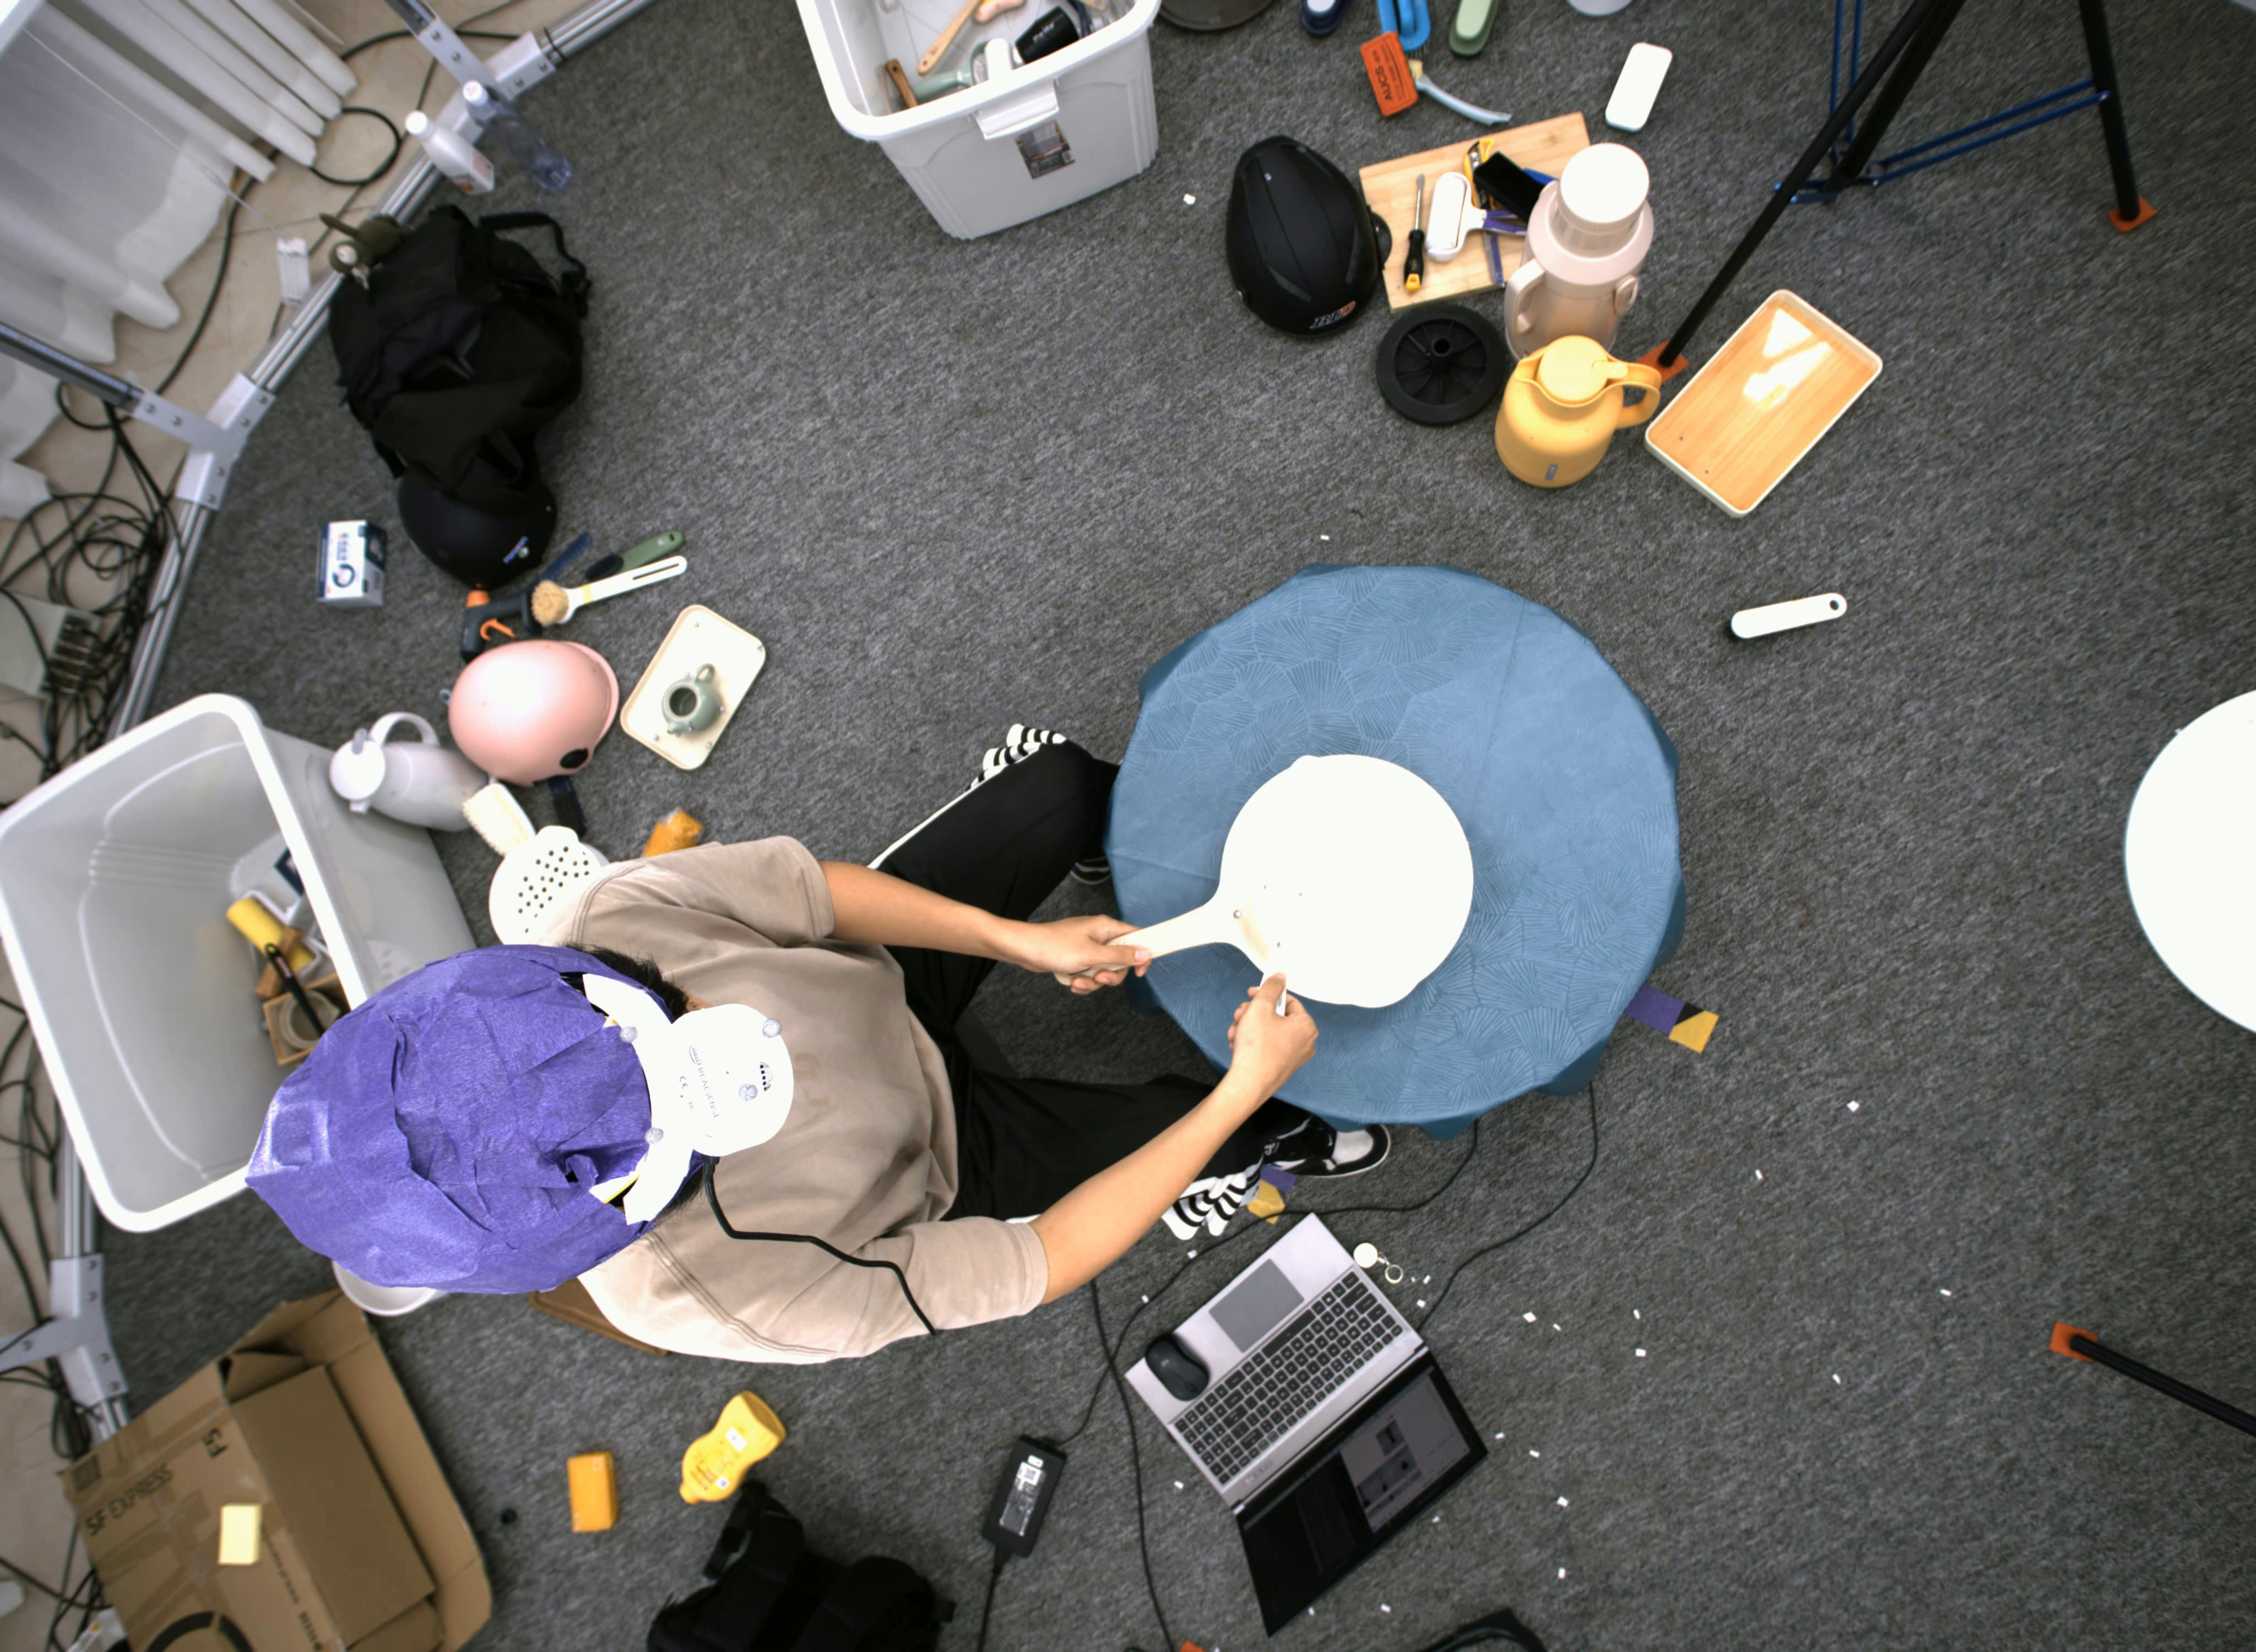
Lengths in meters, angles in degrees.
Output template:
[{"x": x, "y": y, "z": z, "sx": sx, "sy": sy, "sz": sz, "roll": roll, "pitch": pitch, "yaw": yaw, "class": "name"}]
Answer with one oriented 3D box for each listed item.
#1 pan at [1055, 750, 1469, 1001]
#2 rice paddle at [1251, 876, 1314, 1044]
[{"x": 0.136, "y": 0.081, "z": 1.437, "sx": 0.437, "sy": 0.102, "sz": 0.262, "roll": -20, "pitch": 85, "yaw": 9, "class": "pan"}, {"x": 0.149, "y": 0.125, "z": 1.378, "sx": 0.069, "sy": 0.030, "sz": 0.199, "roll": 23, "pitch": 48, "yaw": -10, "class": "rice paddle"}]
